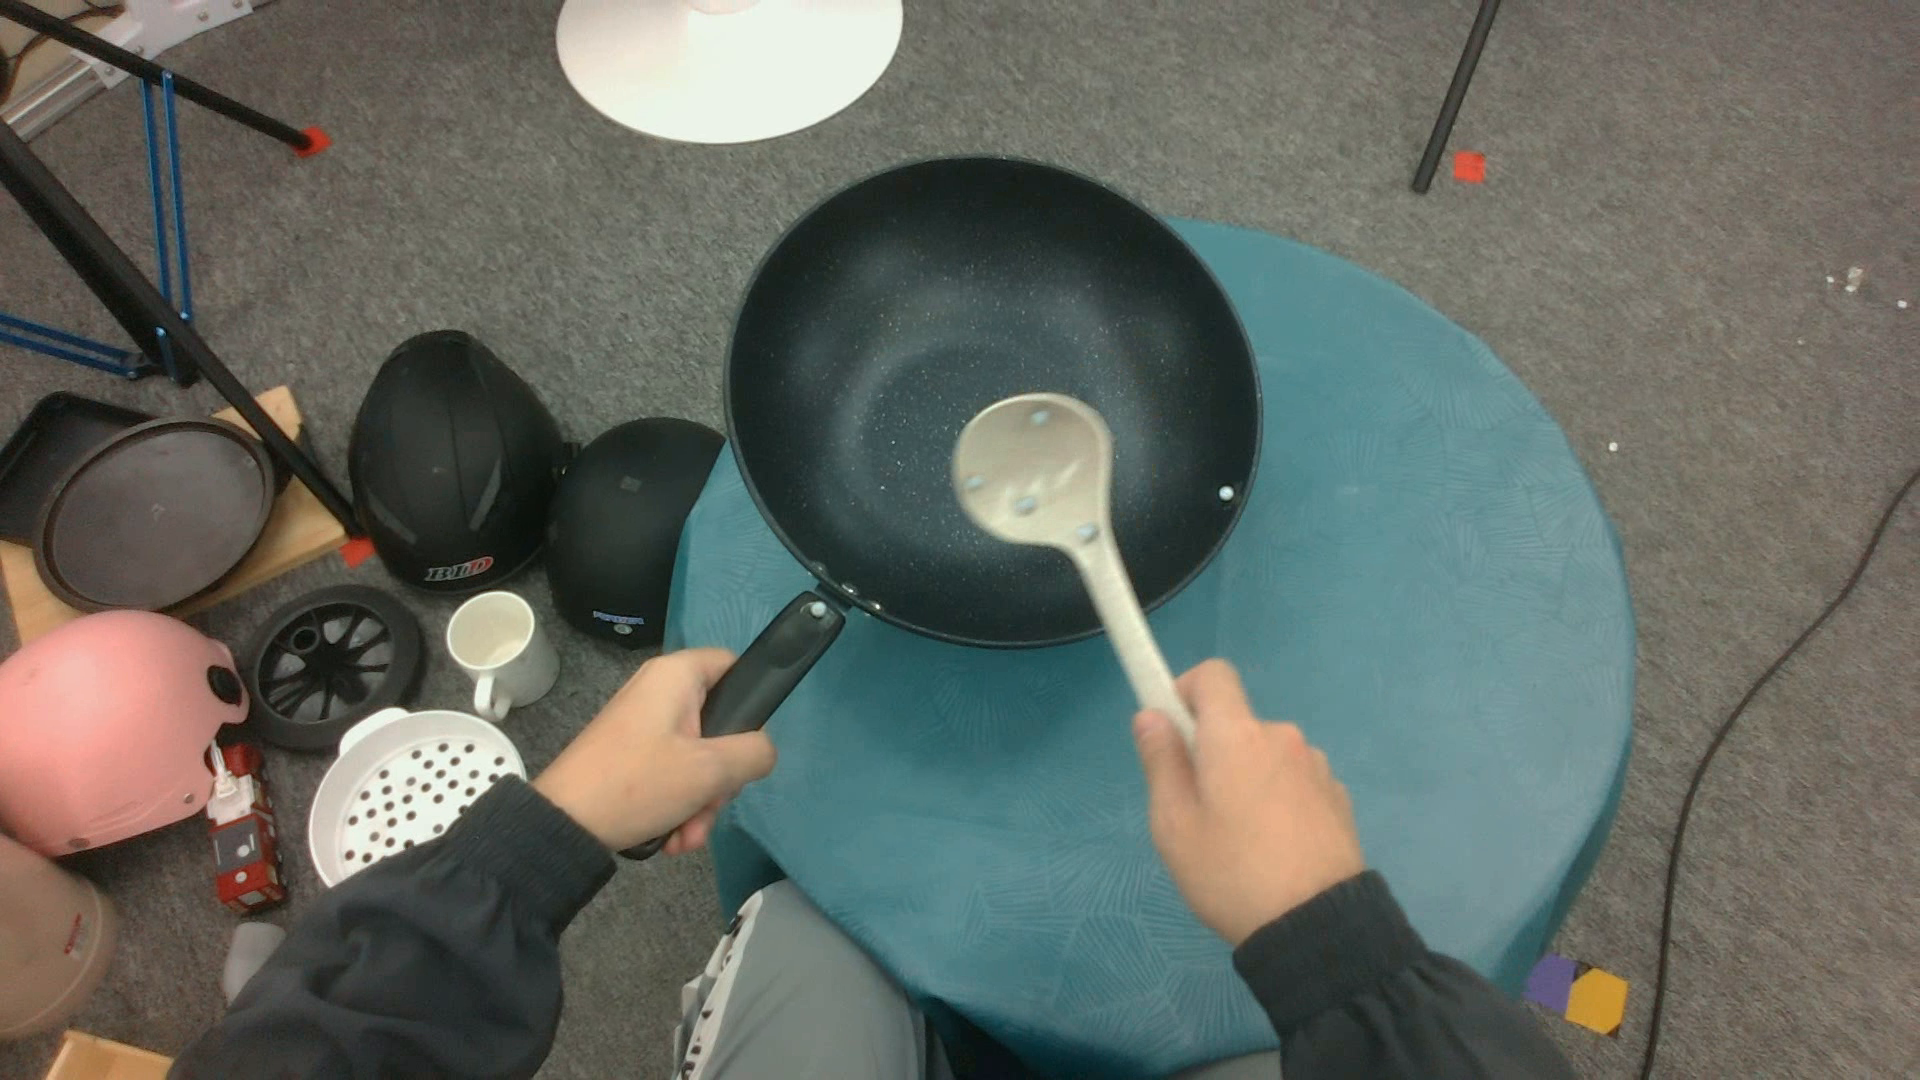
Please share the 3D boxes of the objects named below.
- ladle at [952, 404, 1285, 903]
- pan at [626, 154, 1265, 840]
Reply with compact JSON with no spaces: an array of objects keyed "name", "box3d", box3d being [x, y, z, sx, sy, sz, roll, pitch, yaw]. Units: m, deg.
[{"name":"ladle","box3d":[0.074,0.053,0.678,0.069,0.089,0.275,3,53,-40]},{"name":"pan","box3d":[-0.024,-0.021,0.790,0.310,0.111,0.478,33,68,7]}]
